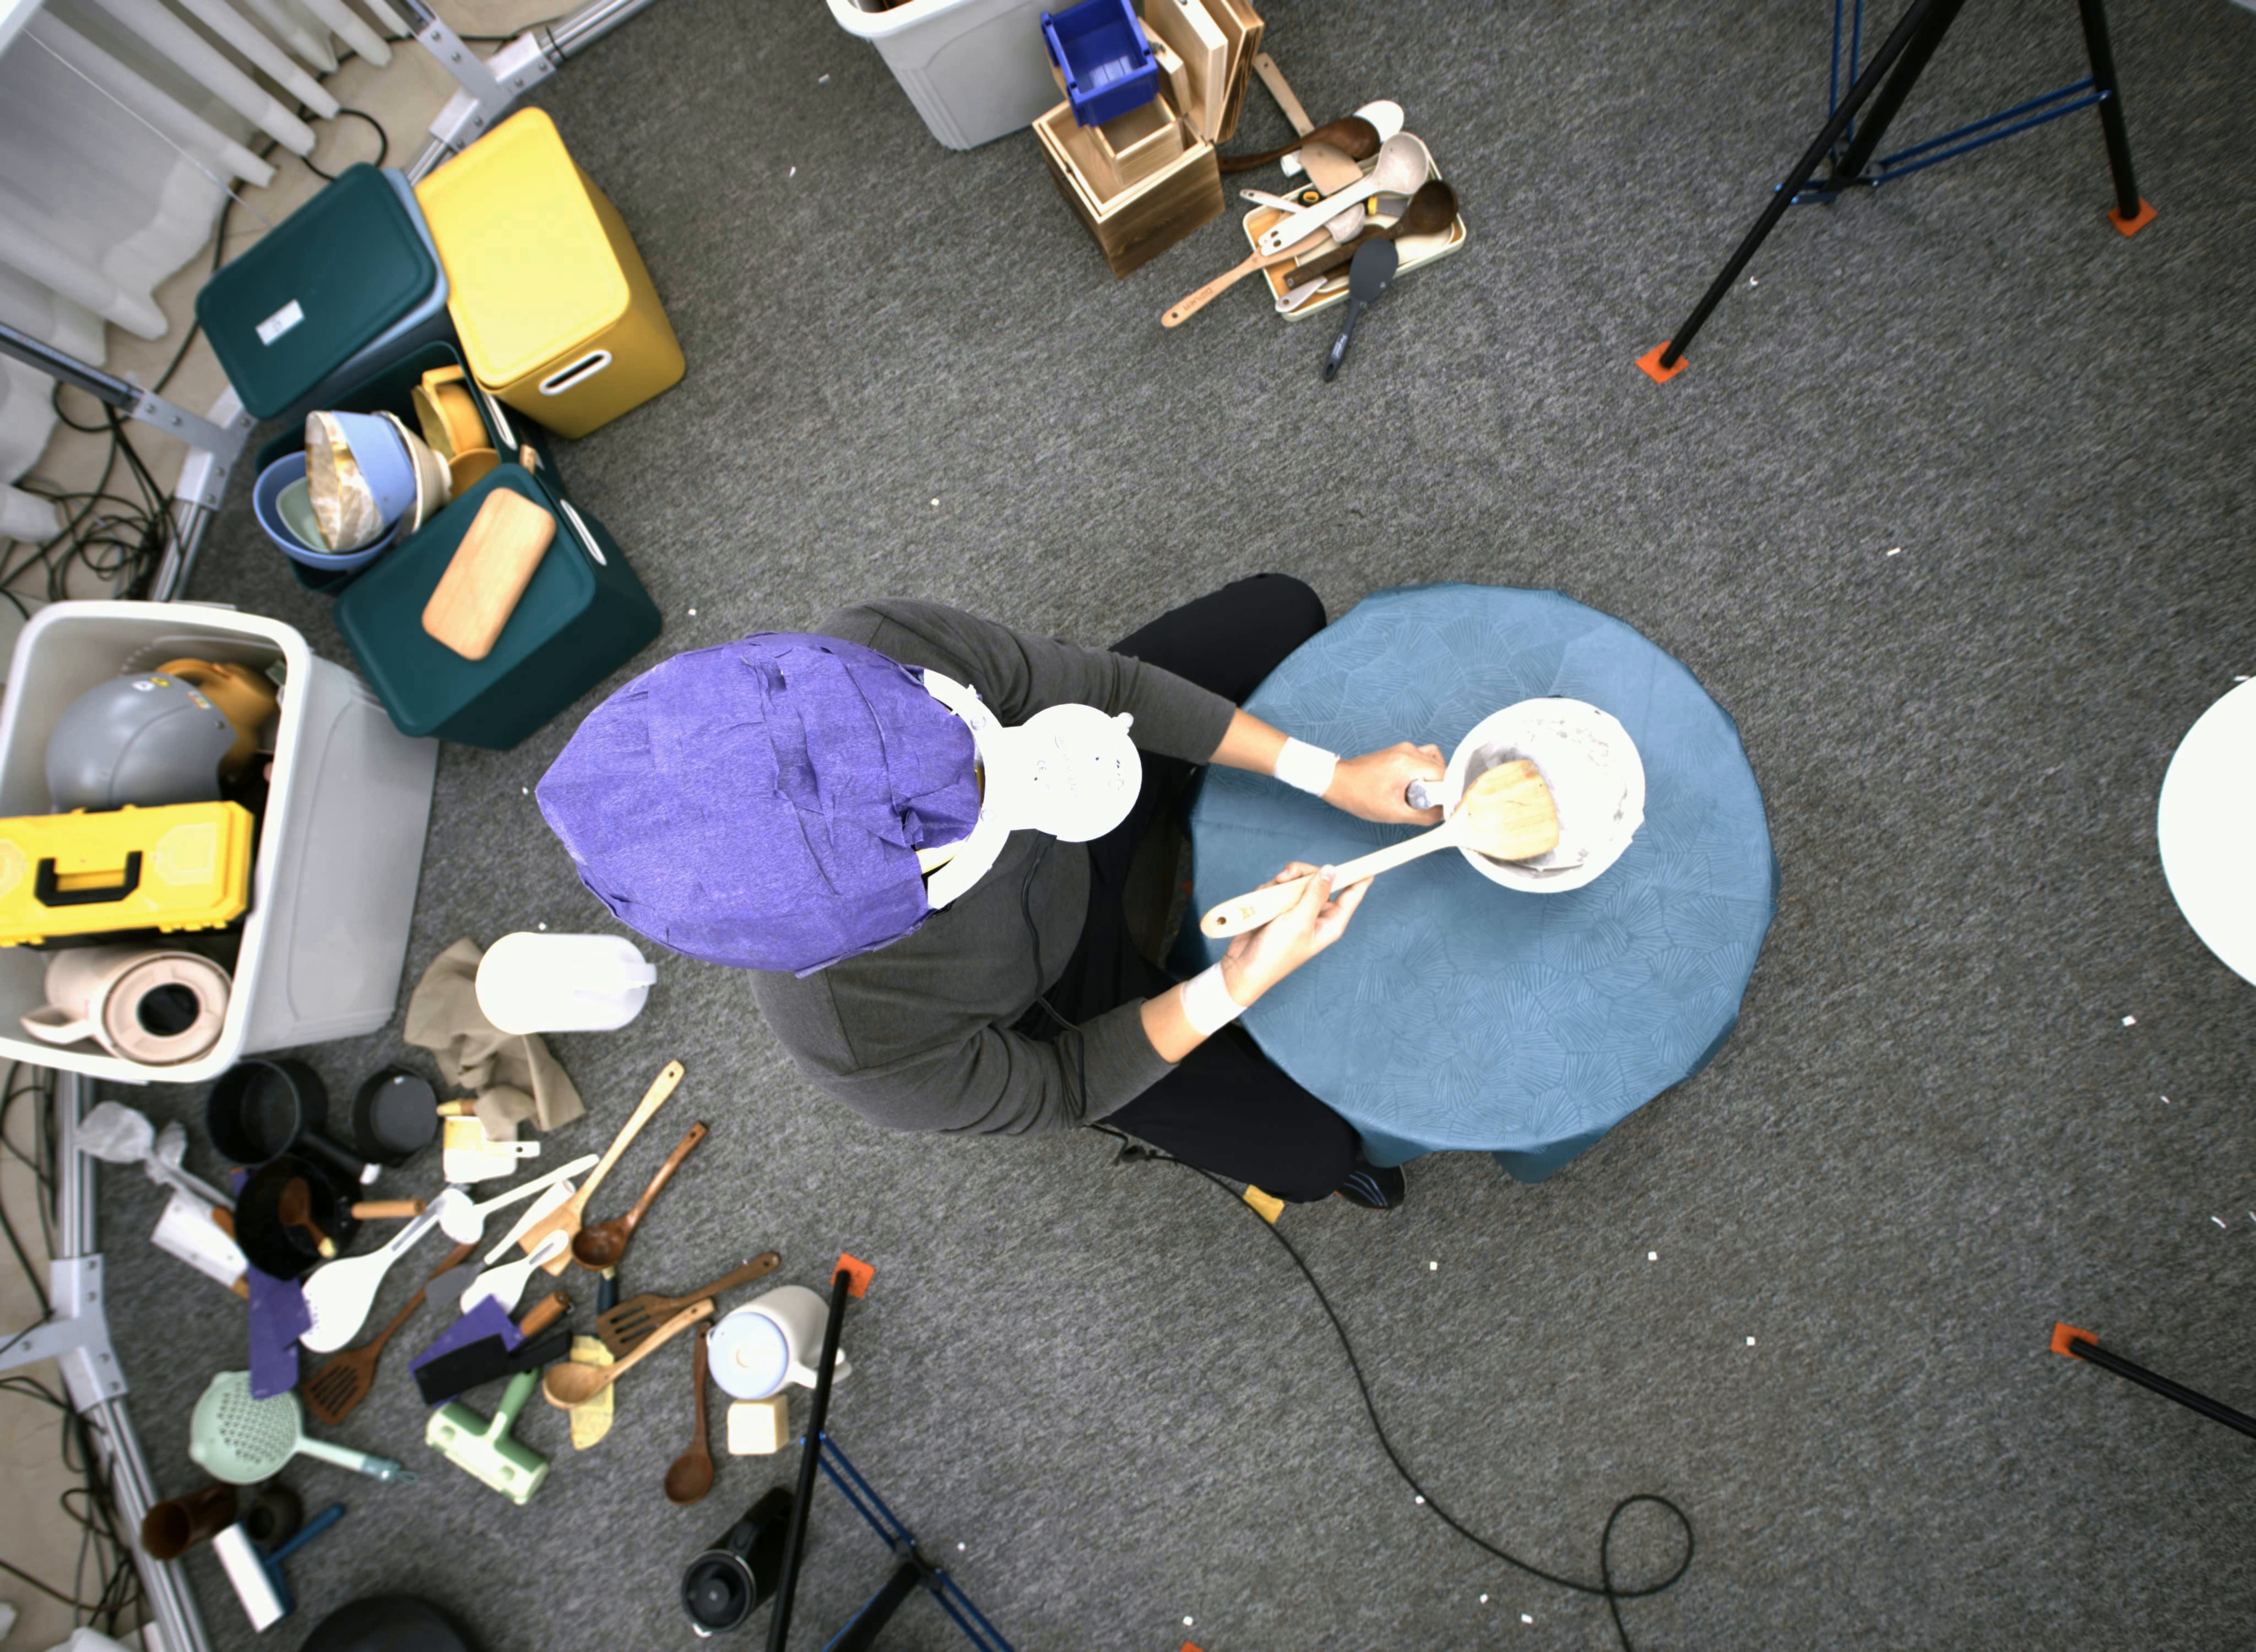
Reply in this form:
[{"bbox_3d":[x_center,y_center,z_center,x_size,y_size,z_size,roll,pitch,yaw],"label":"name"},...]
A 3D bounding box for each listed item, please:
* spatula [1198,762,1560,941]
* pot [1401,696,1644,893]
[{"bbox_3d":[0.236,0.035,1.263,0.387,0.018,0.095,-20,88,-20],"label":"spatula"},{"bbox_3d":[0.377,-0.036,1.331,0.235,0.135,0.180,0,99,24],"label":"pot"}]
